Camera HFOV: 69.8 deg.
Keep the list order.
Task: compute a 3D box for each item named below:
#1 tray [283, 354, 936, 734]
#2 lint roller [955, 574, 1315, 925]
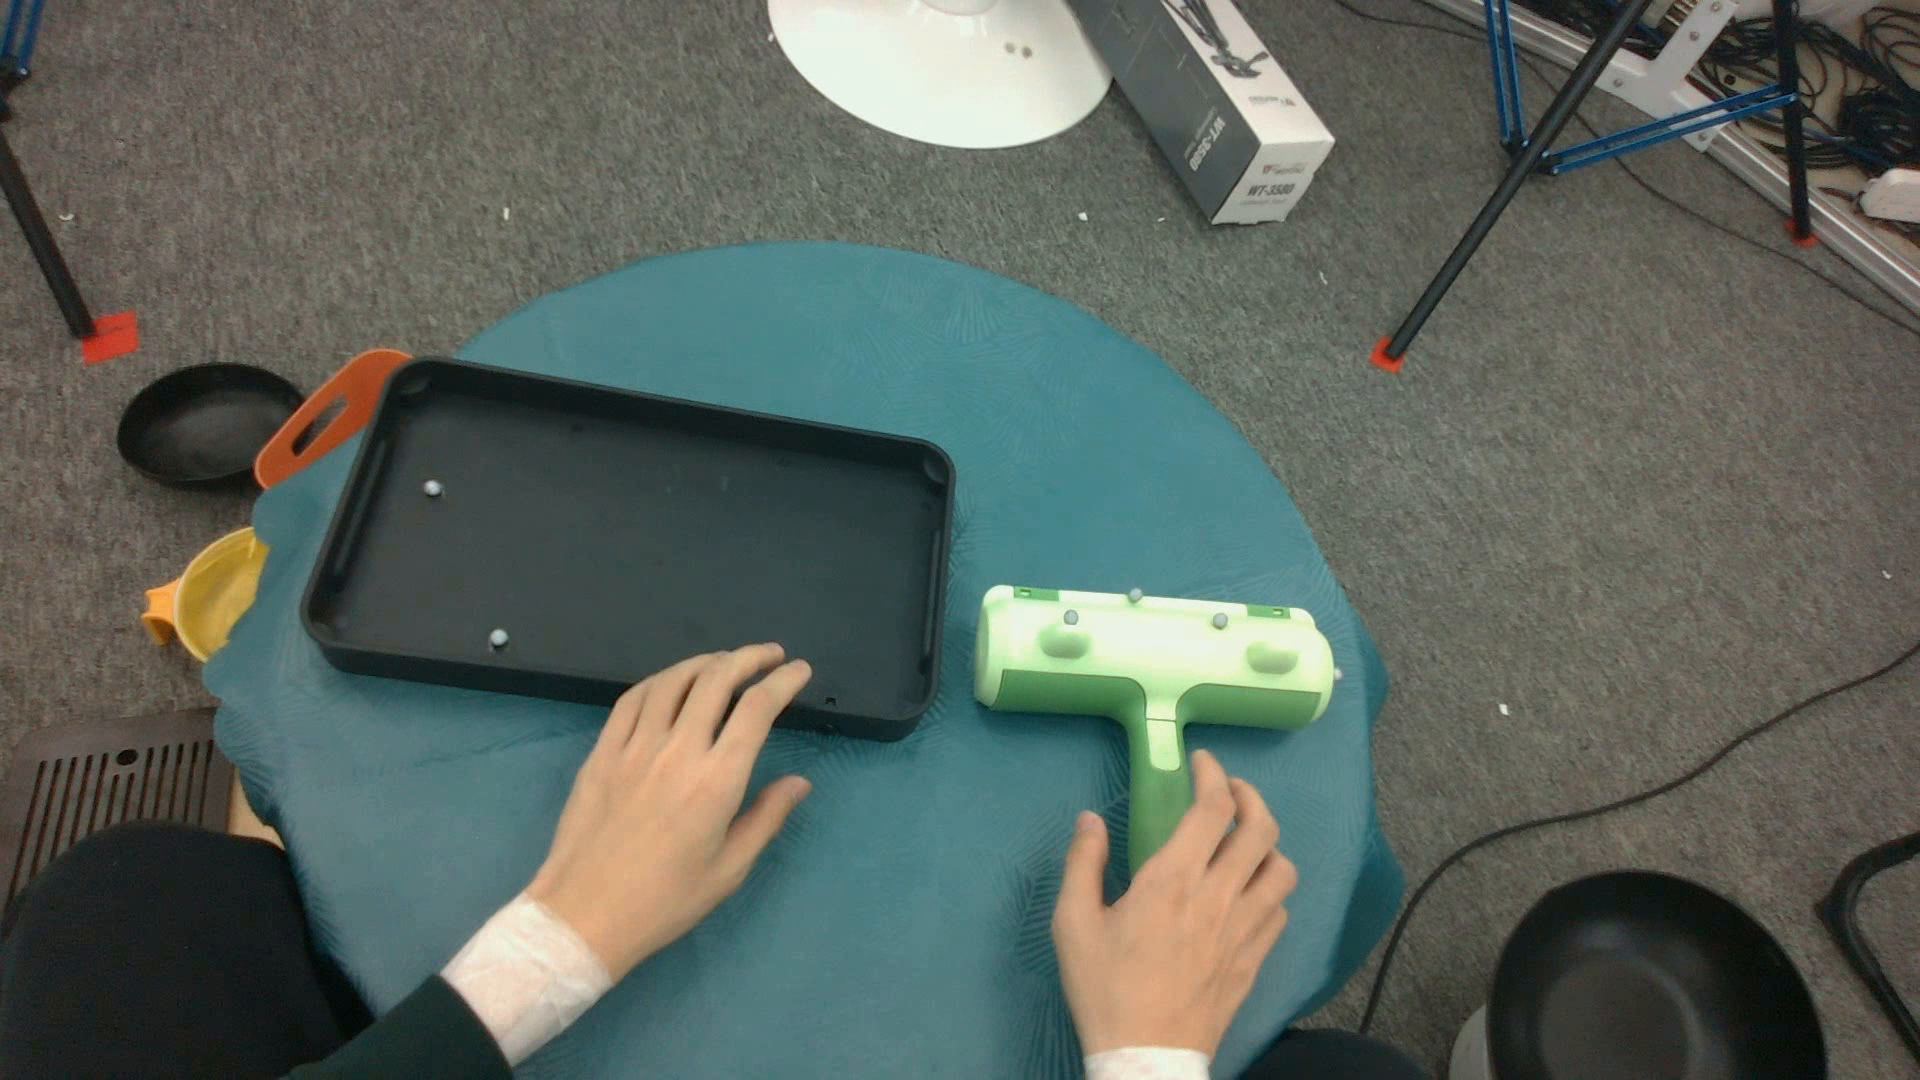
[{"bbox_3d":[-0.175,0.002,0.746,0.318,0.037,0.185,8,57,-9],"label":"tray"},{"bbox_3d":[0.101,0.102,0.724,0.199,0.082,0.184,4,54,-11],"label":"lint roller"}]
